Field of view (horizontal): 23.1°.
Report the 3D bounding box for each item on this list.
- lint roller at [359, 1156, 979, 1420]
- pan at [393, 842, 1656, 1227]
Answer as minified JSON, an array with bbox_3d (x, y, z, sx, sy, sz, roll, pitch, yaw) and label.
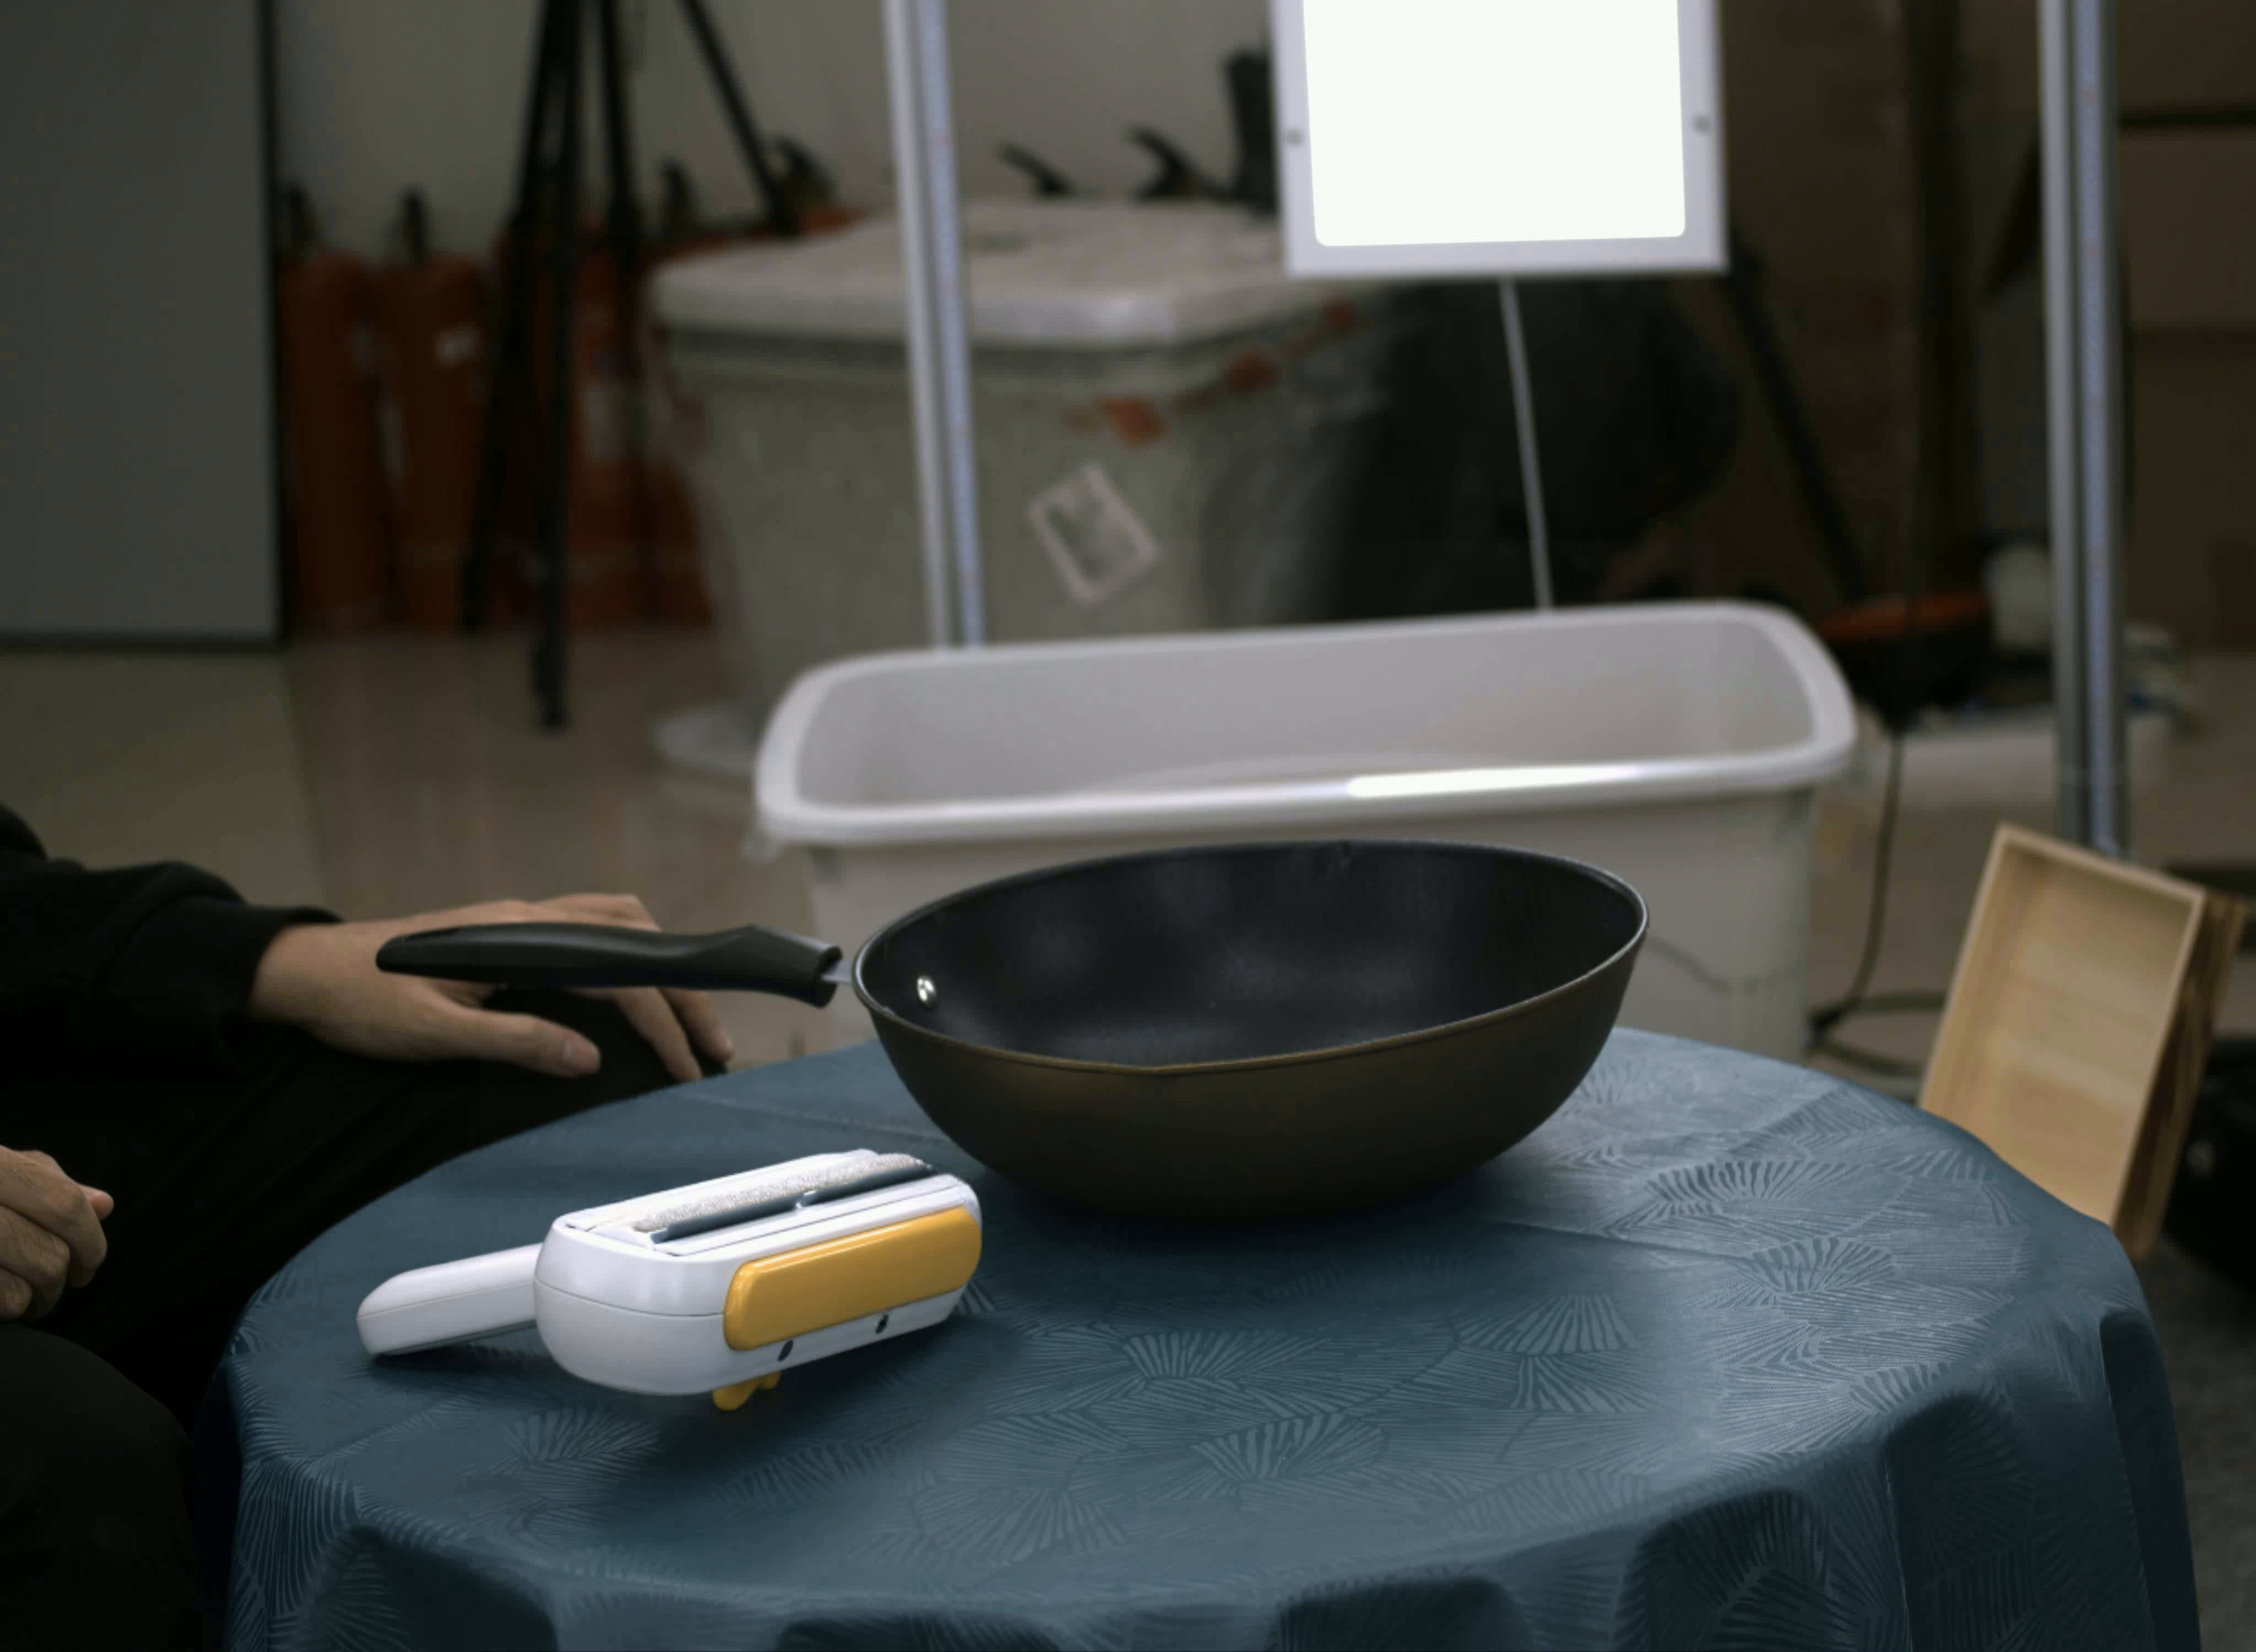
[{"bbox_3d":[-0.166,0.143,1.745,0.196,0.074,0.188,2,10,34],"label":"lint roller"},{"bbox_3d":[-0.042,0.077,1.935,0.469,0.087,0.284,-1,14,18],"label":"pan"}]
